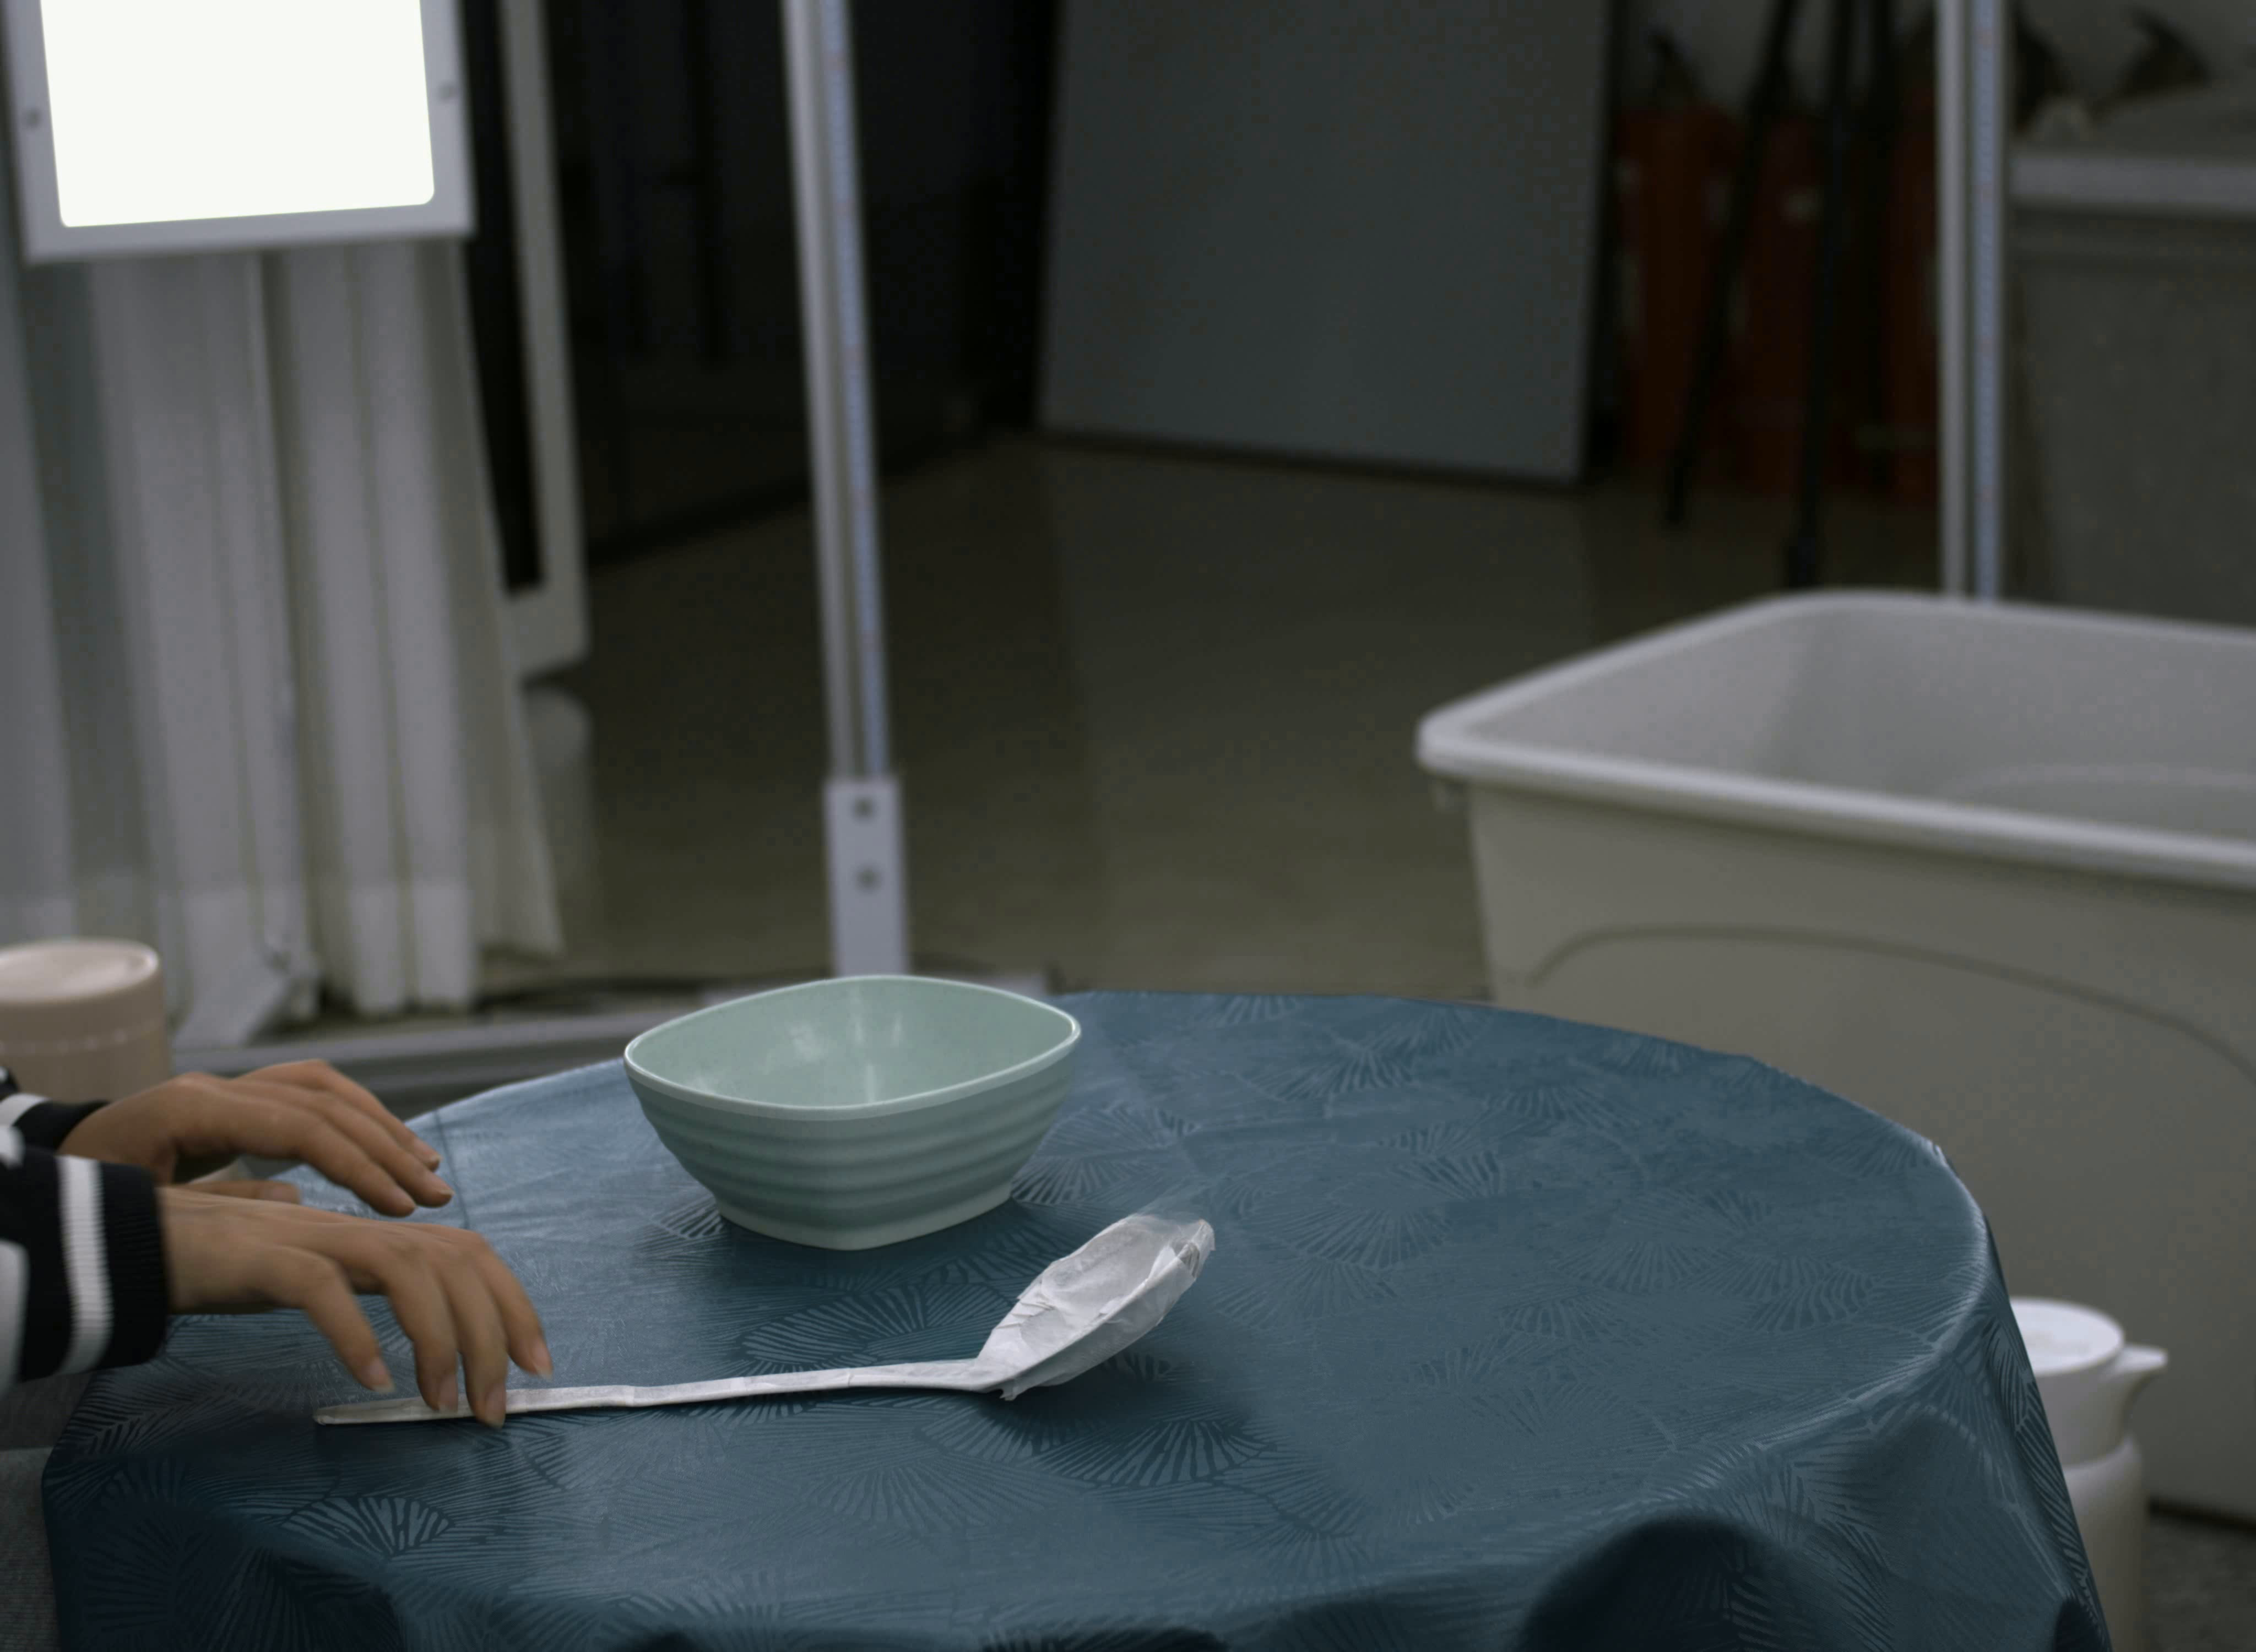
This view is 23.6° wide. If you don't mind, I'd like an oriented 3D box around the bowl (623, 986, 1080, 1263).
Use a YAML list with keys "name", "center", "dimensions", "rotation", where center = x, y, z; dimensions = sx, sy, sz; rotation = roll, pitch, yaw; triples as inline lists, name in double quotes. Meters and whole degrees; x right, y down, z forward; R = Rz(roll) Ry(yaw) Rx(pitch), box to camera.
- name: "bowl"
  center: [-0.089, 0.100, 1.769]
  dimensions: [0.149, 0.059, 0.152]
  rotation: [-4, 13, 0]

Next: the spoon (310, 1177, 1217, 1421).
- name: "spoon"
  center: [-0.108, 0.140, 1.605]
  dimensions: [0.274, 0.060, 0.100]
  rotation: [-3, 8, 6]
